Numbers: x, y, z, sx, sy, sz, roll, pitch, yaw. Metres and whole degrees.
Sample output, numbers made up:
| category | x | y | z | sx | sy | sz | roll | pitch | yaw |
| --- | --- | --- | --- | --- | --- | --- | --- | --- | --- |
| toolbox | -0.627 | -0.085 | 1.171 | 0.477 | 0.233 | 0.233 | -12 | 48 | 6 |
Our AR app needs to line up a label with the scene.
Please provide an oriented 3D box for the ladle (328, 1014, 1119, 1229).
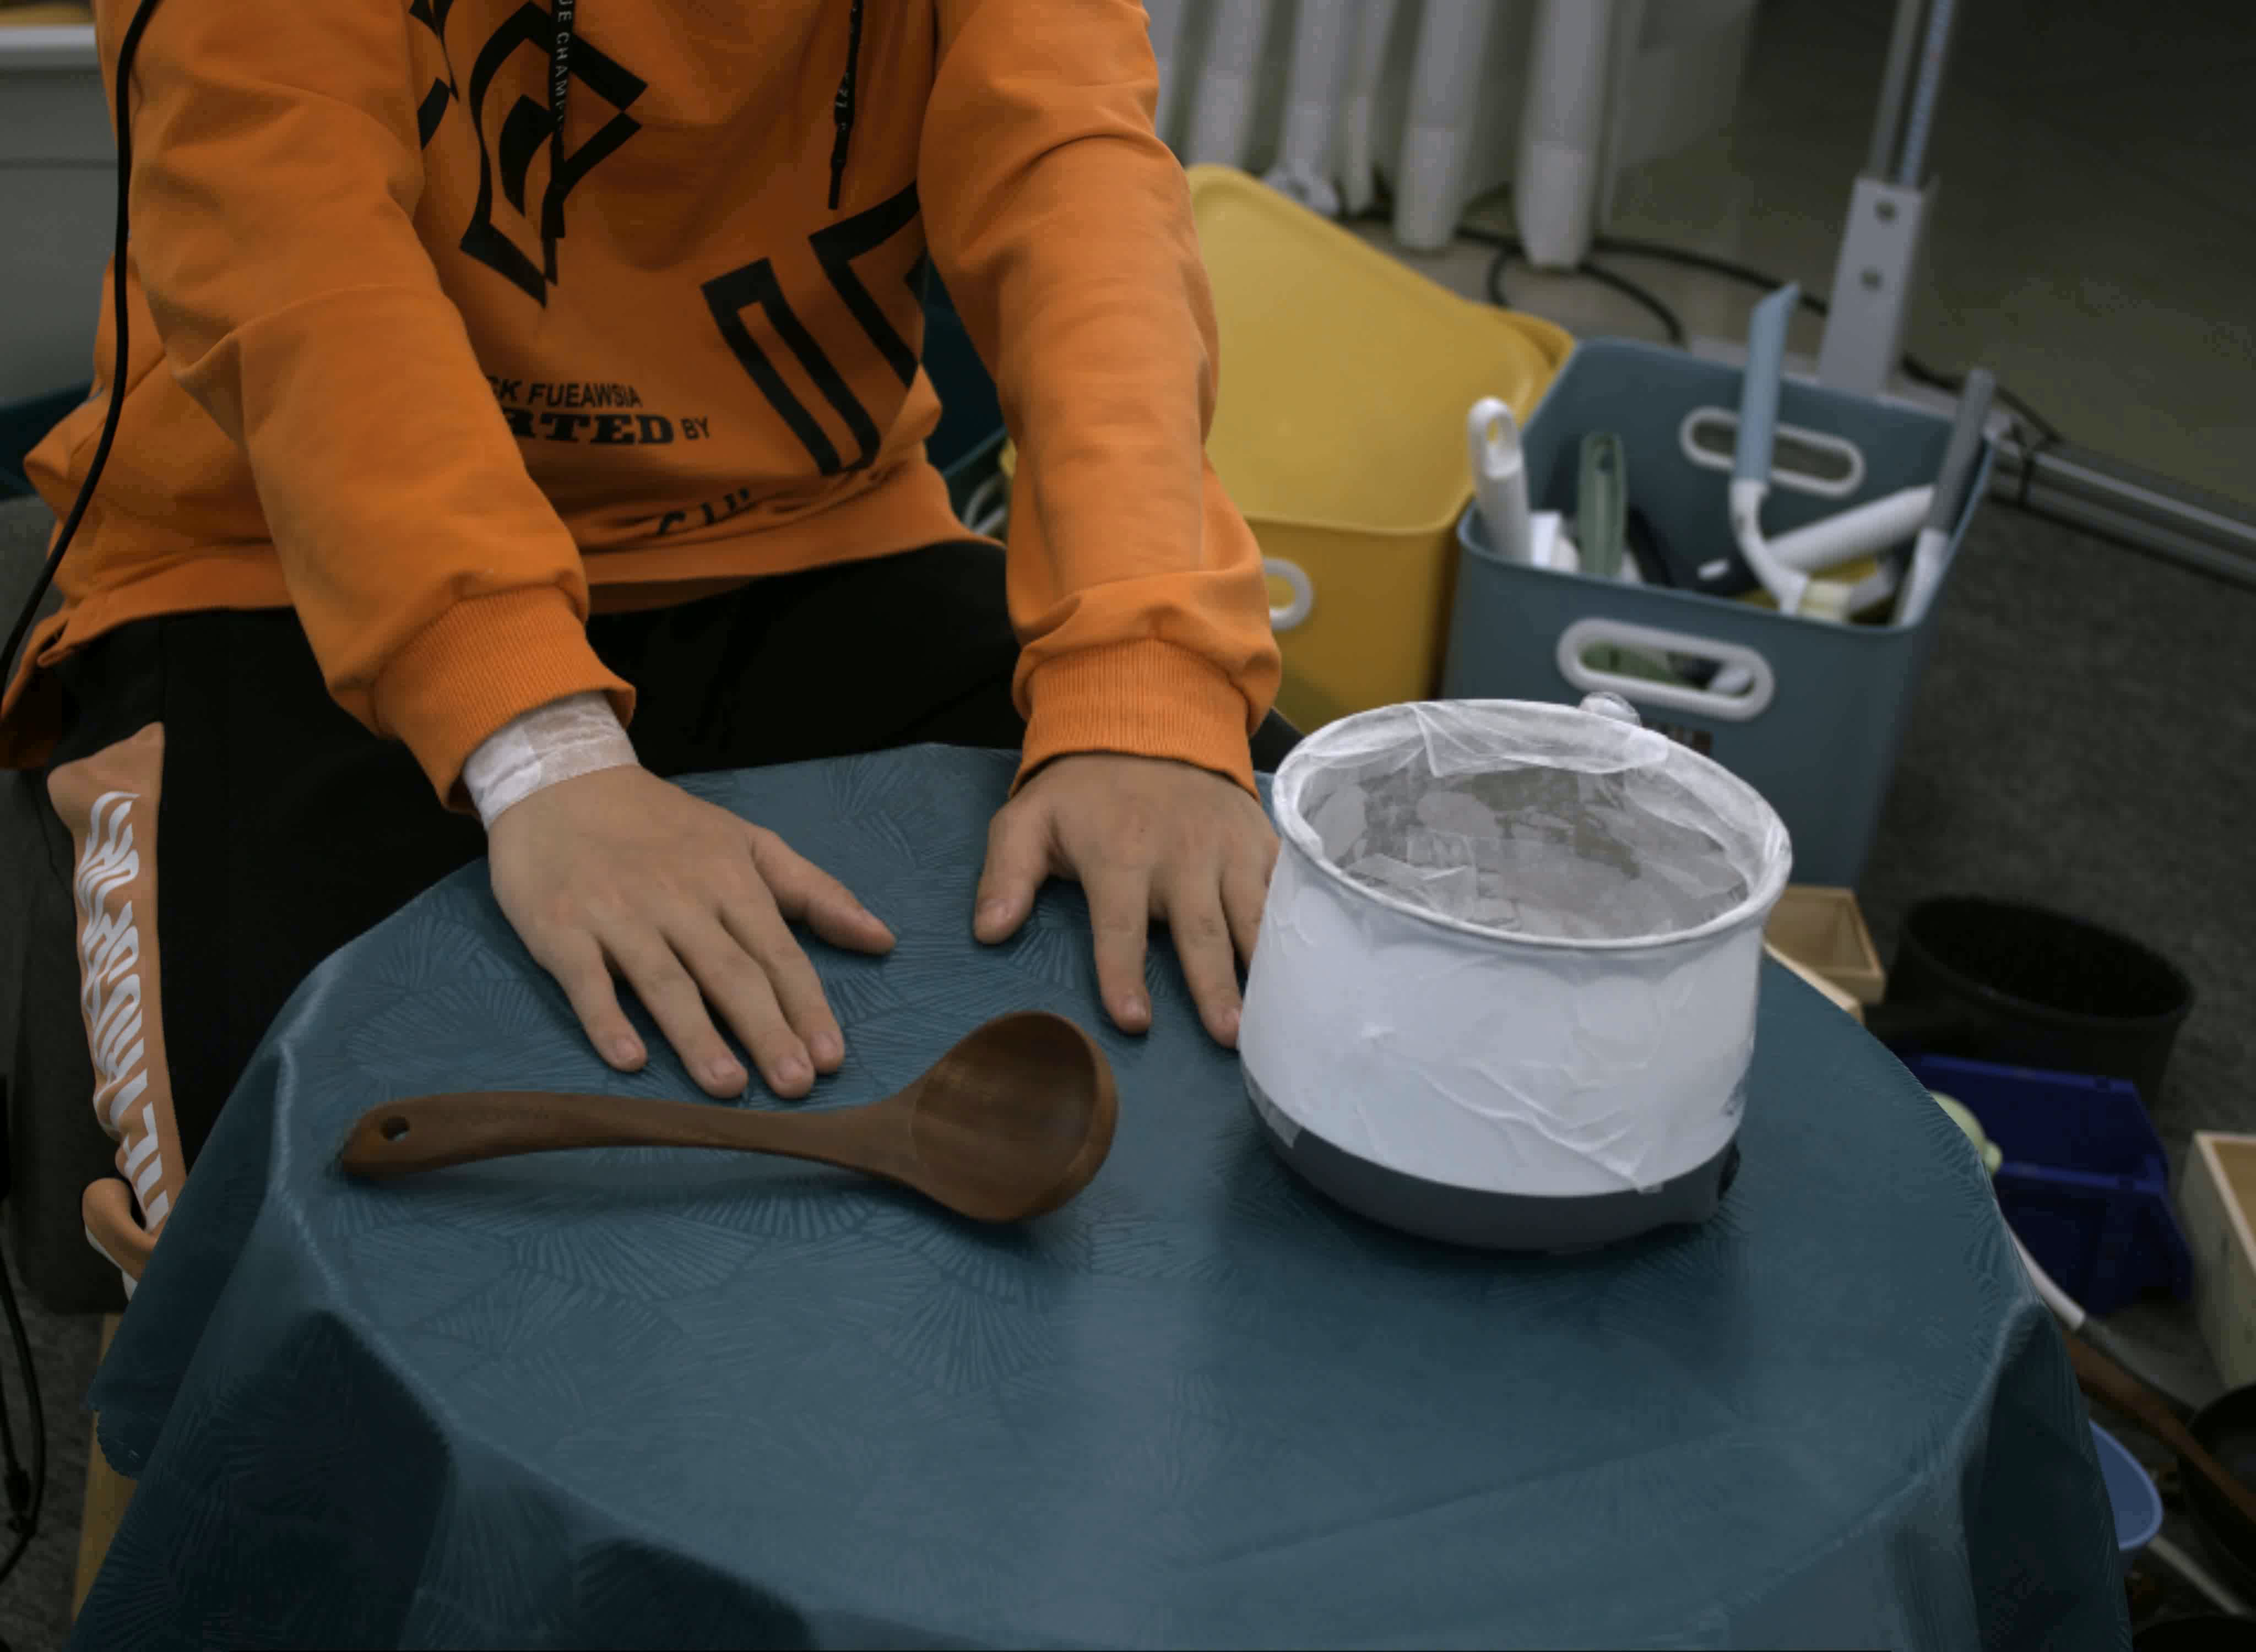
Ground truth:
| category | x | y | z | sx | sy | sz | roll | pitch | yaw |
| --- | --- | --- | --- | --- | --- | --- | --- | --- | --- |
| ladle | -0.133 | 0.096 | 1.761 | 0.259 | 0.065 | 0.077 | 2 | 53 | -9 |

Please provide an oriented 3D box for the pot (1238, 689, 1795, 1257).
| category | x | y | z | sx | sy | sz | roll | pitch | yaw |
| --- | --- | --- | --- | --- | --- | --- | --- | --- | --- |
| pot | 0.138 | 0.041 | 1.843 | 0.179 | 0.136 | 0.234 | 14 | 28 | 13 |
